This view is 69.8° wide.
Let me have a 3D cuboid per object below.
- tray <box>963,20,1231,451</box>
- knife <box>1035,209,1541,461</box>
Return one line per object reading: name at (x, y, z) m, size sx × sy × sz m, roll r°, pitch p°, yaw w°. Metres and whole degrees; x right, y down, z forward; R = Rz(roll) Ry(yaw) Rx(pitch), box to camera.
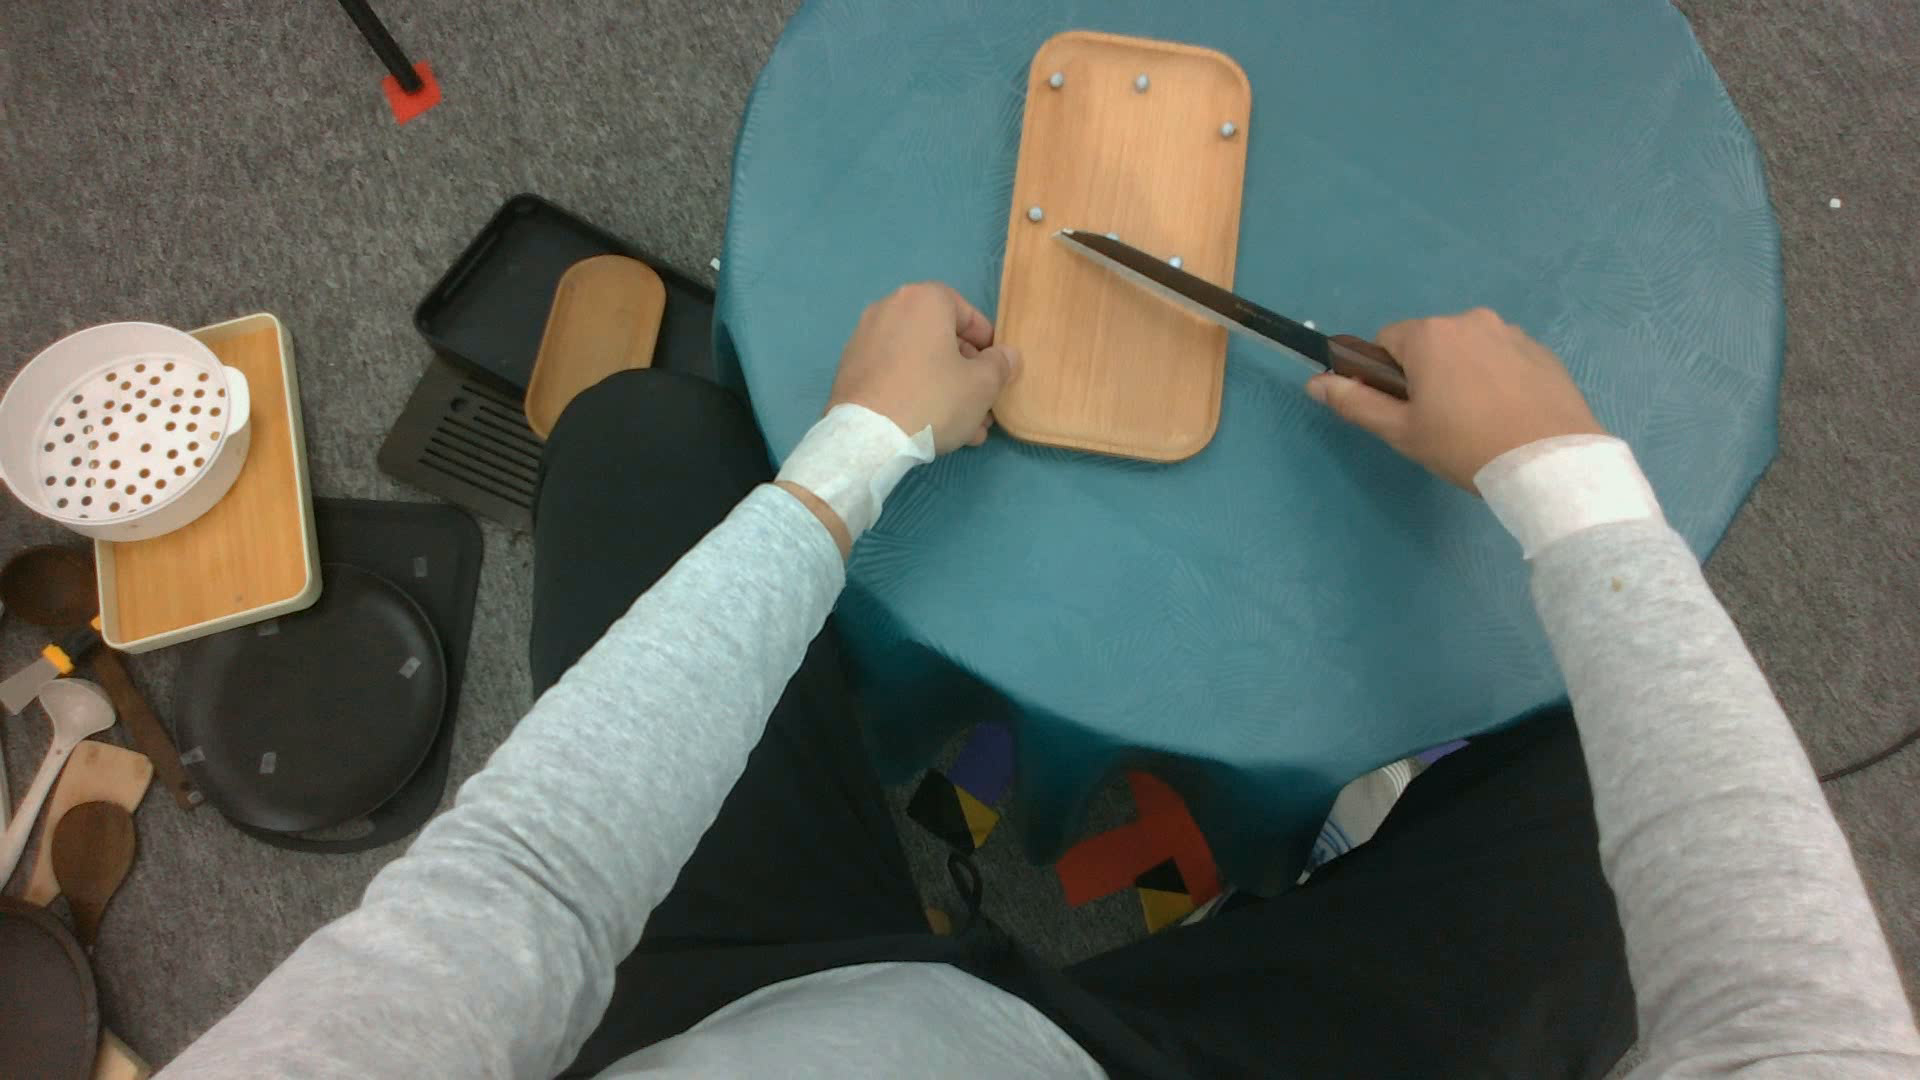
tray at (0.079, -0.173, 0.769) m, size 0.130 × 0.023 × 0.251 m, roll 9°, pitch 76°, yaw 0°
knife at (0.164, -0.113, 0.724) m, size 0.289 × 0.050 × 0.020 m, roll 28°, pitch 78°, yaw 13°
